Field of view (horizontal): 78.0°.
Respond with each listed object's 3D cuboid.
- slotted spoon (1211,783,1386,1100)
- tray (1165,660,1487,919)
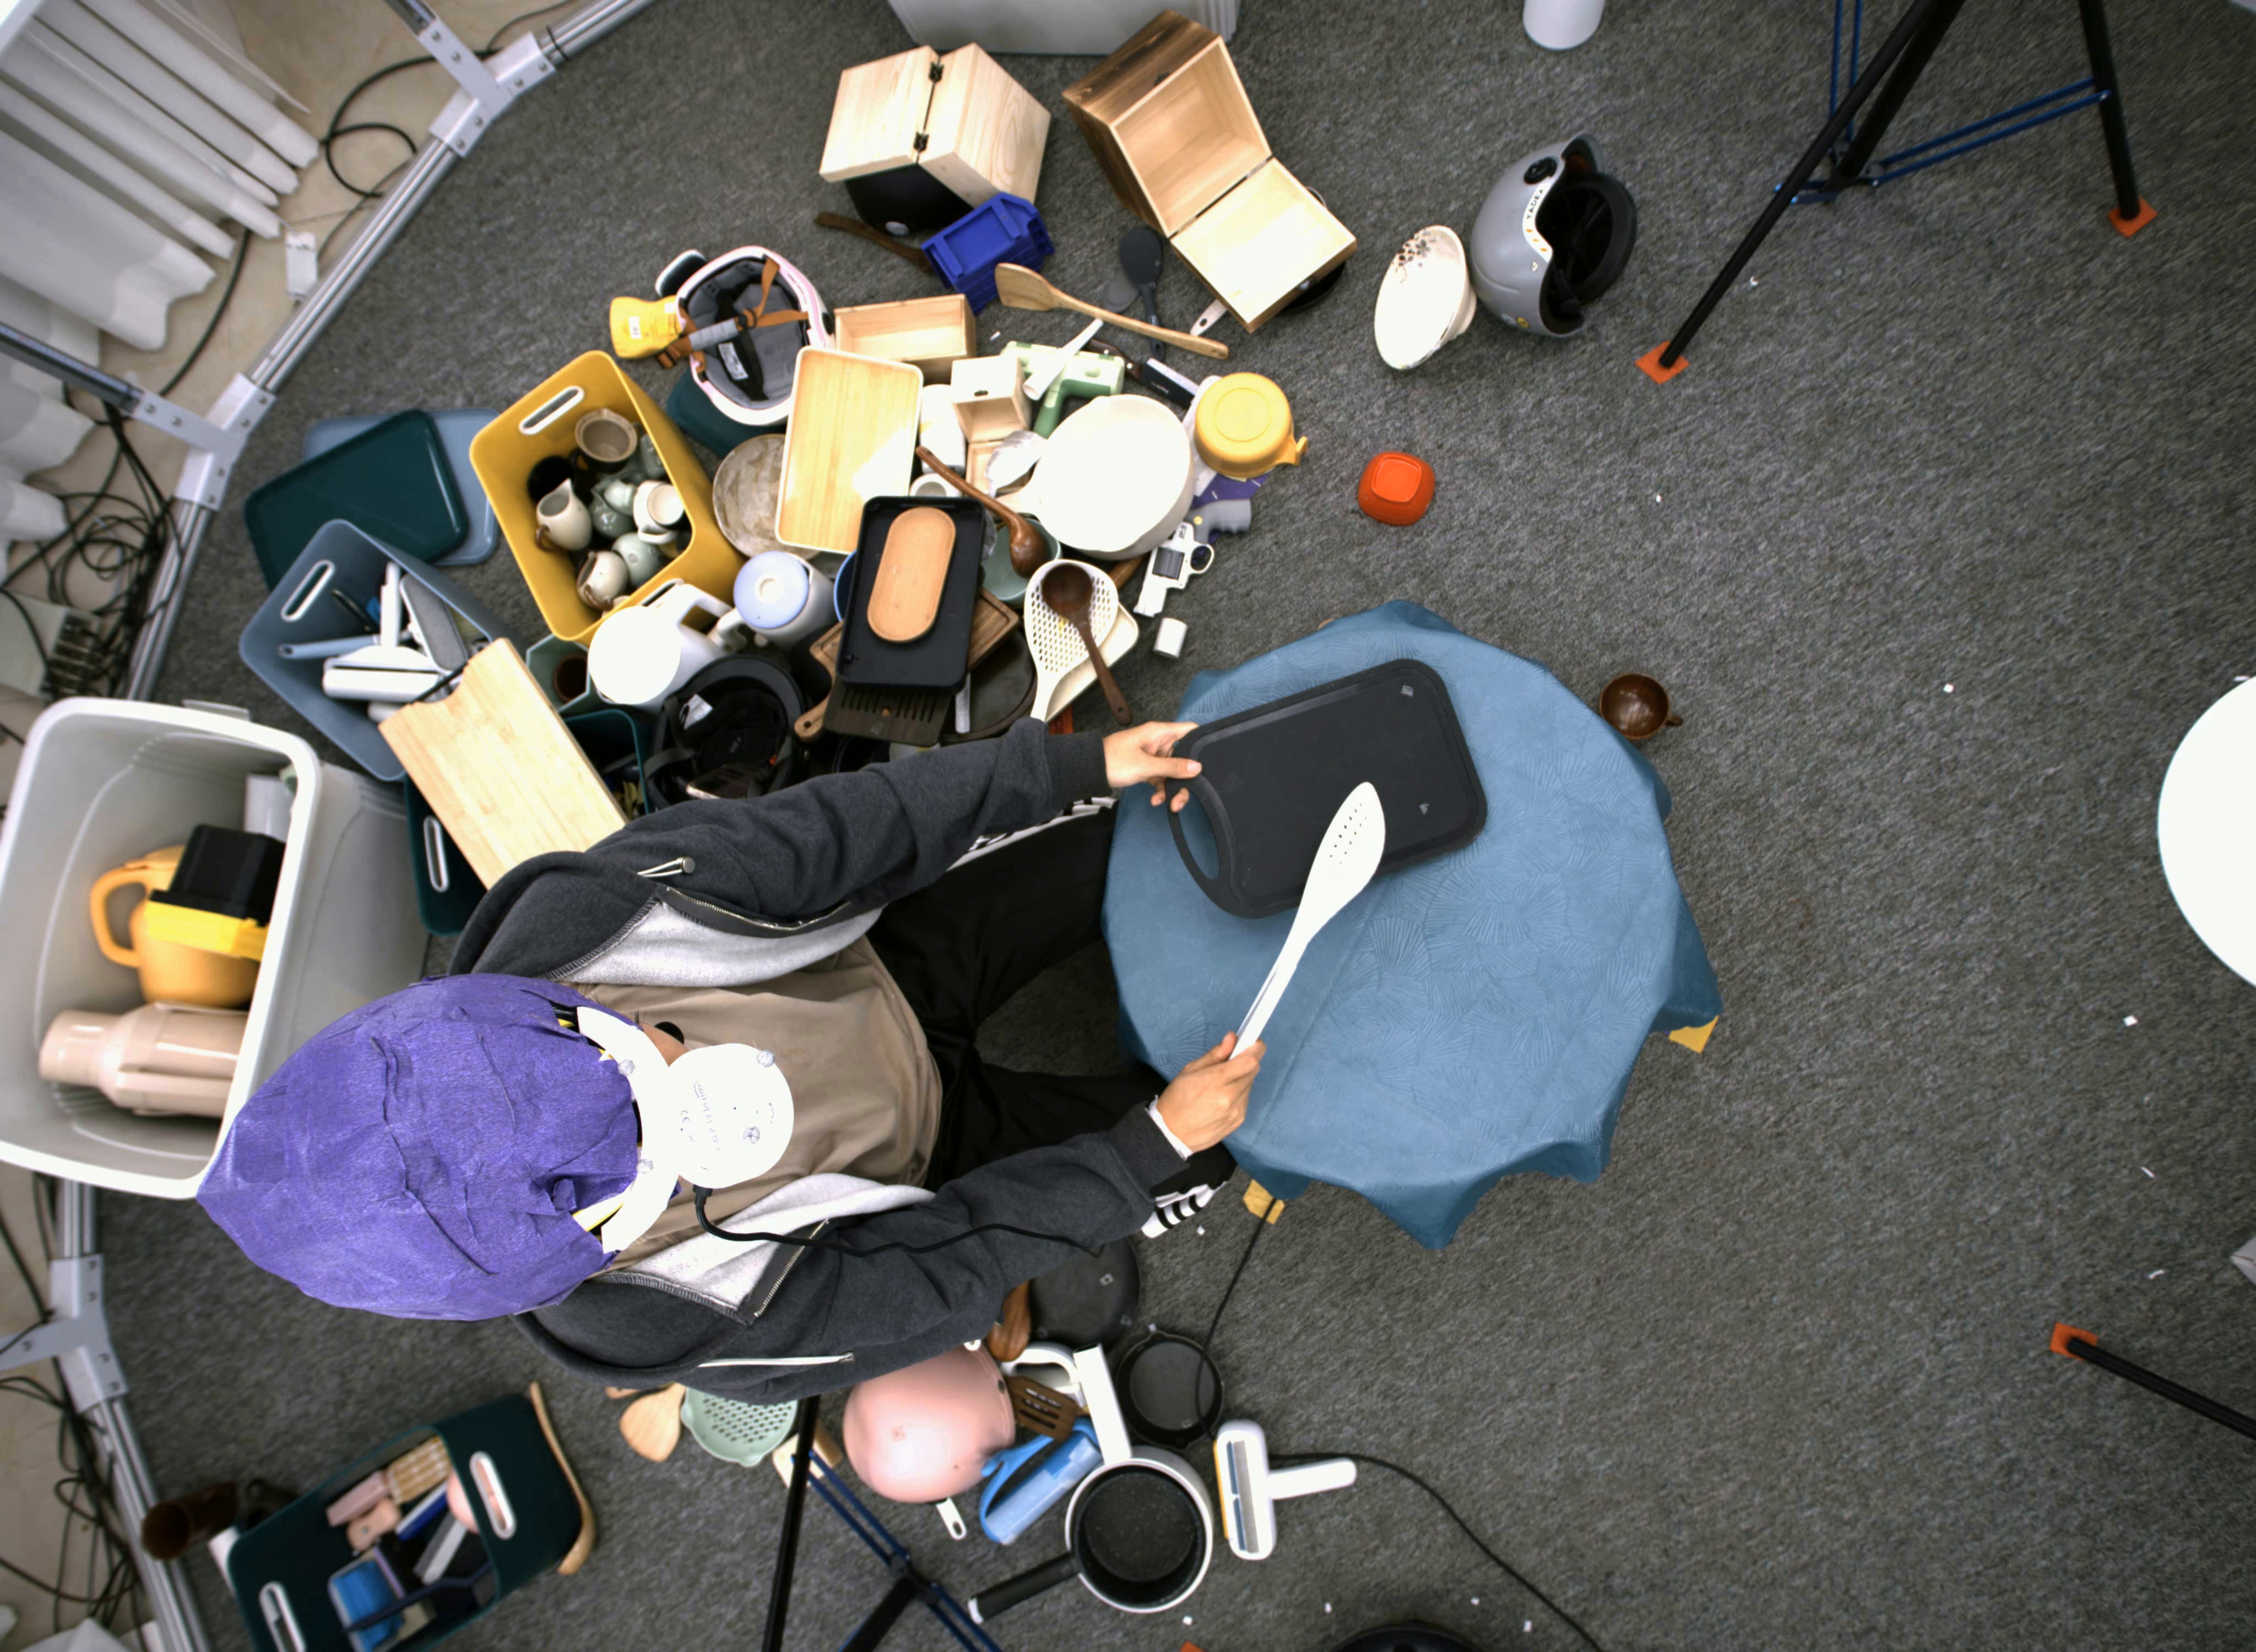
[{"bbox_3d":[0.162,0.118,1.346,0.046,0.134,0.354,28,106,-6],"label":"slotted spoon"},{"bbox_3d":[0.201,-0.036,1.428,0.325,0.010,0.211,-19,90,-3],"label":"tray"}]
